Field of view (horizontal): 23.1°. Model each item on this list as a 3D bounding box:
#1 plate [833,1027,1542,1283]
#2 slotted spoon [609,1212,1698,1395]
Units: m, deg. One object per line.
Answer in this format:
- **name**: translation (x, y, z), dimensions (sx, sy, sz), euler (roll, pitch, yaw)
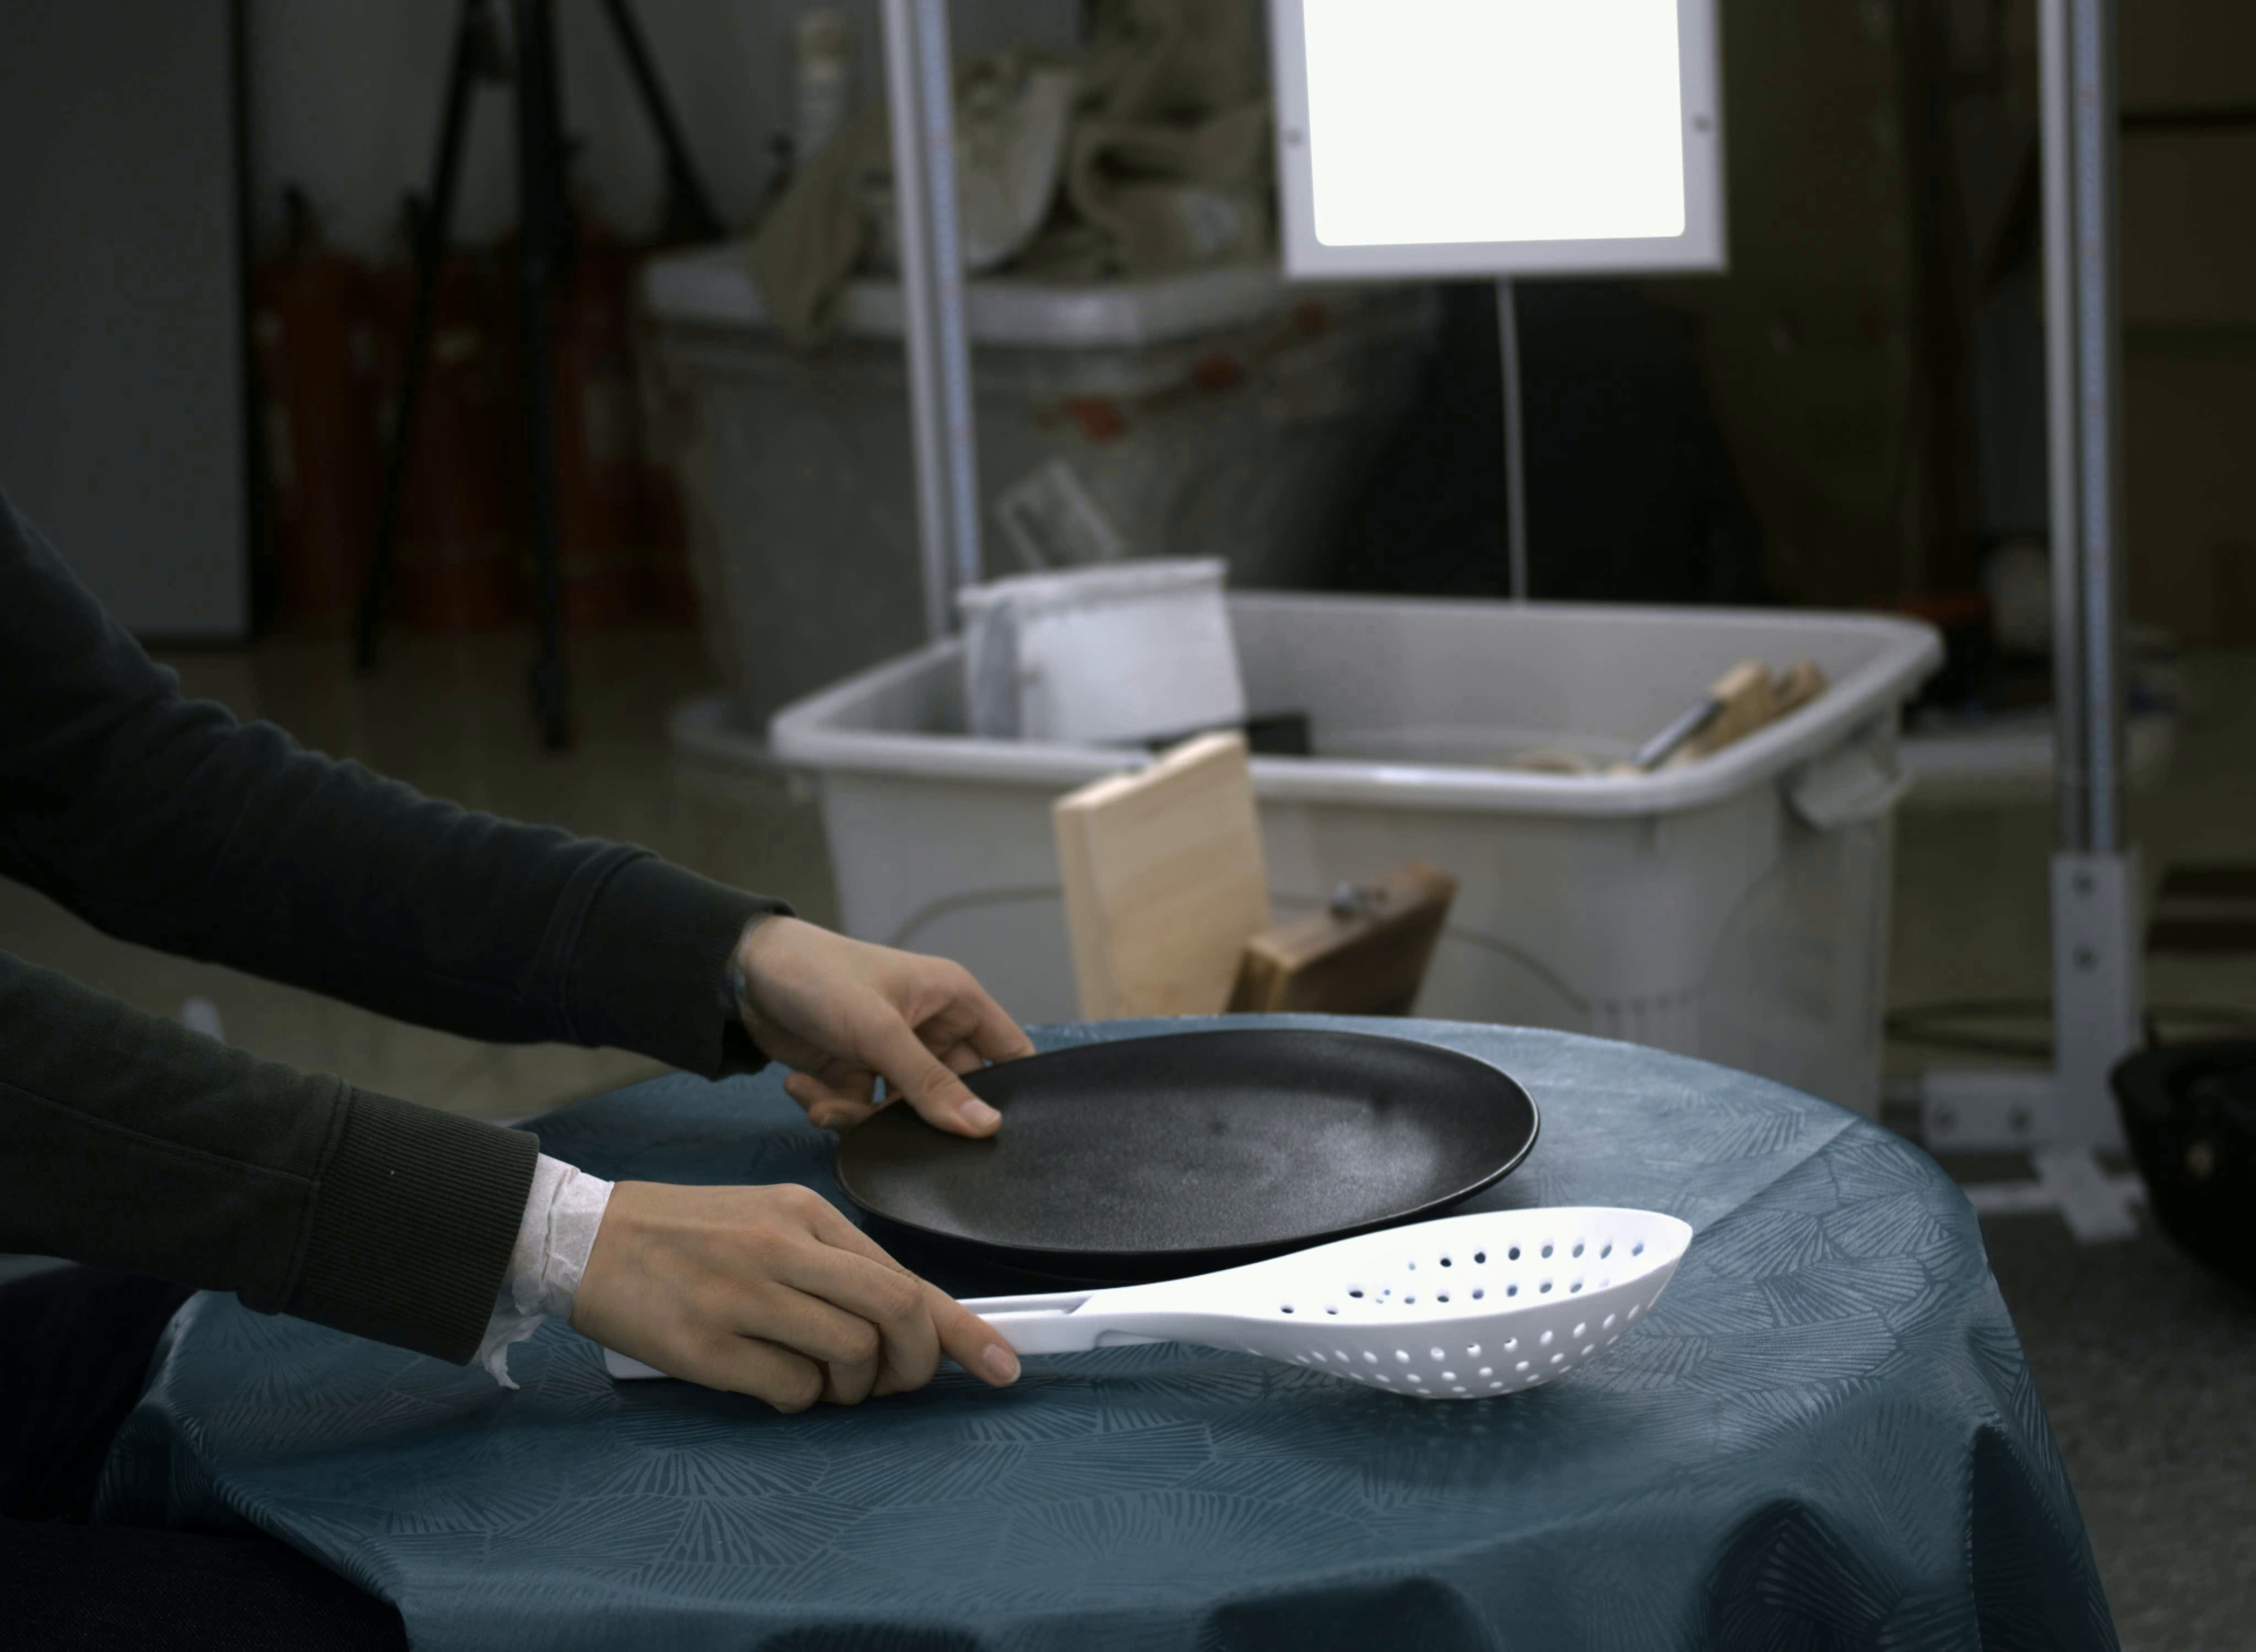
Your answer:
- **plate**: translation (0.021, 0.115, 1.883), dimensions (0.244, 0.023, 0.244), euler (-5, 15, 0)
- **slotted spoon**: translation (0.004, 0.150, 1.703), dimensions (0.354, 0.046, 0.134), euler (-1, 7, 18)
